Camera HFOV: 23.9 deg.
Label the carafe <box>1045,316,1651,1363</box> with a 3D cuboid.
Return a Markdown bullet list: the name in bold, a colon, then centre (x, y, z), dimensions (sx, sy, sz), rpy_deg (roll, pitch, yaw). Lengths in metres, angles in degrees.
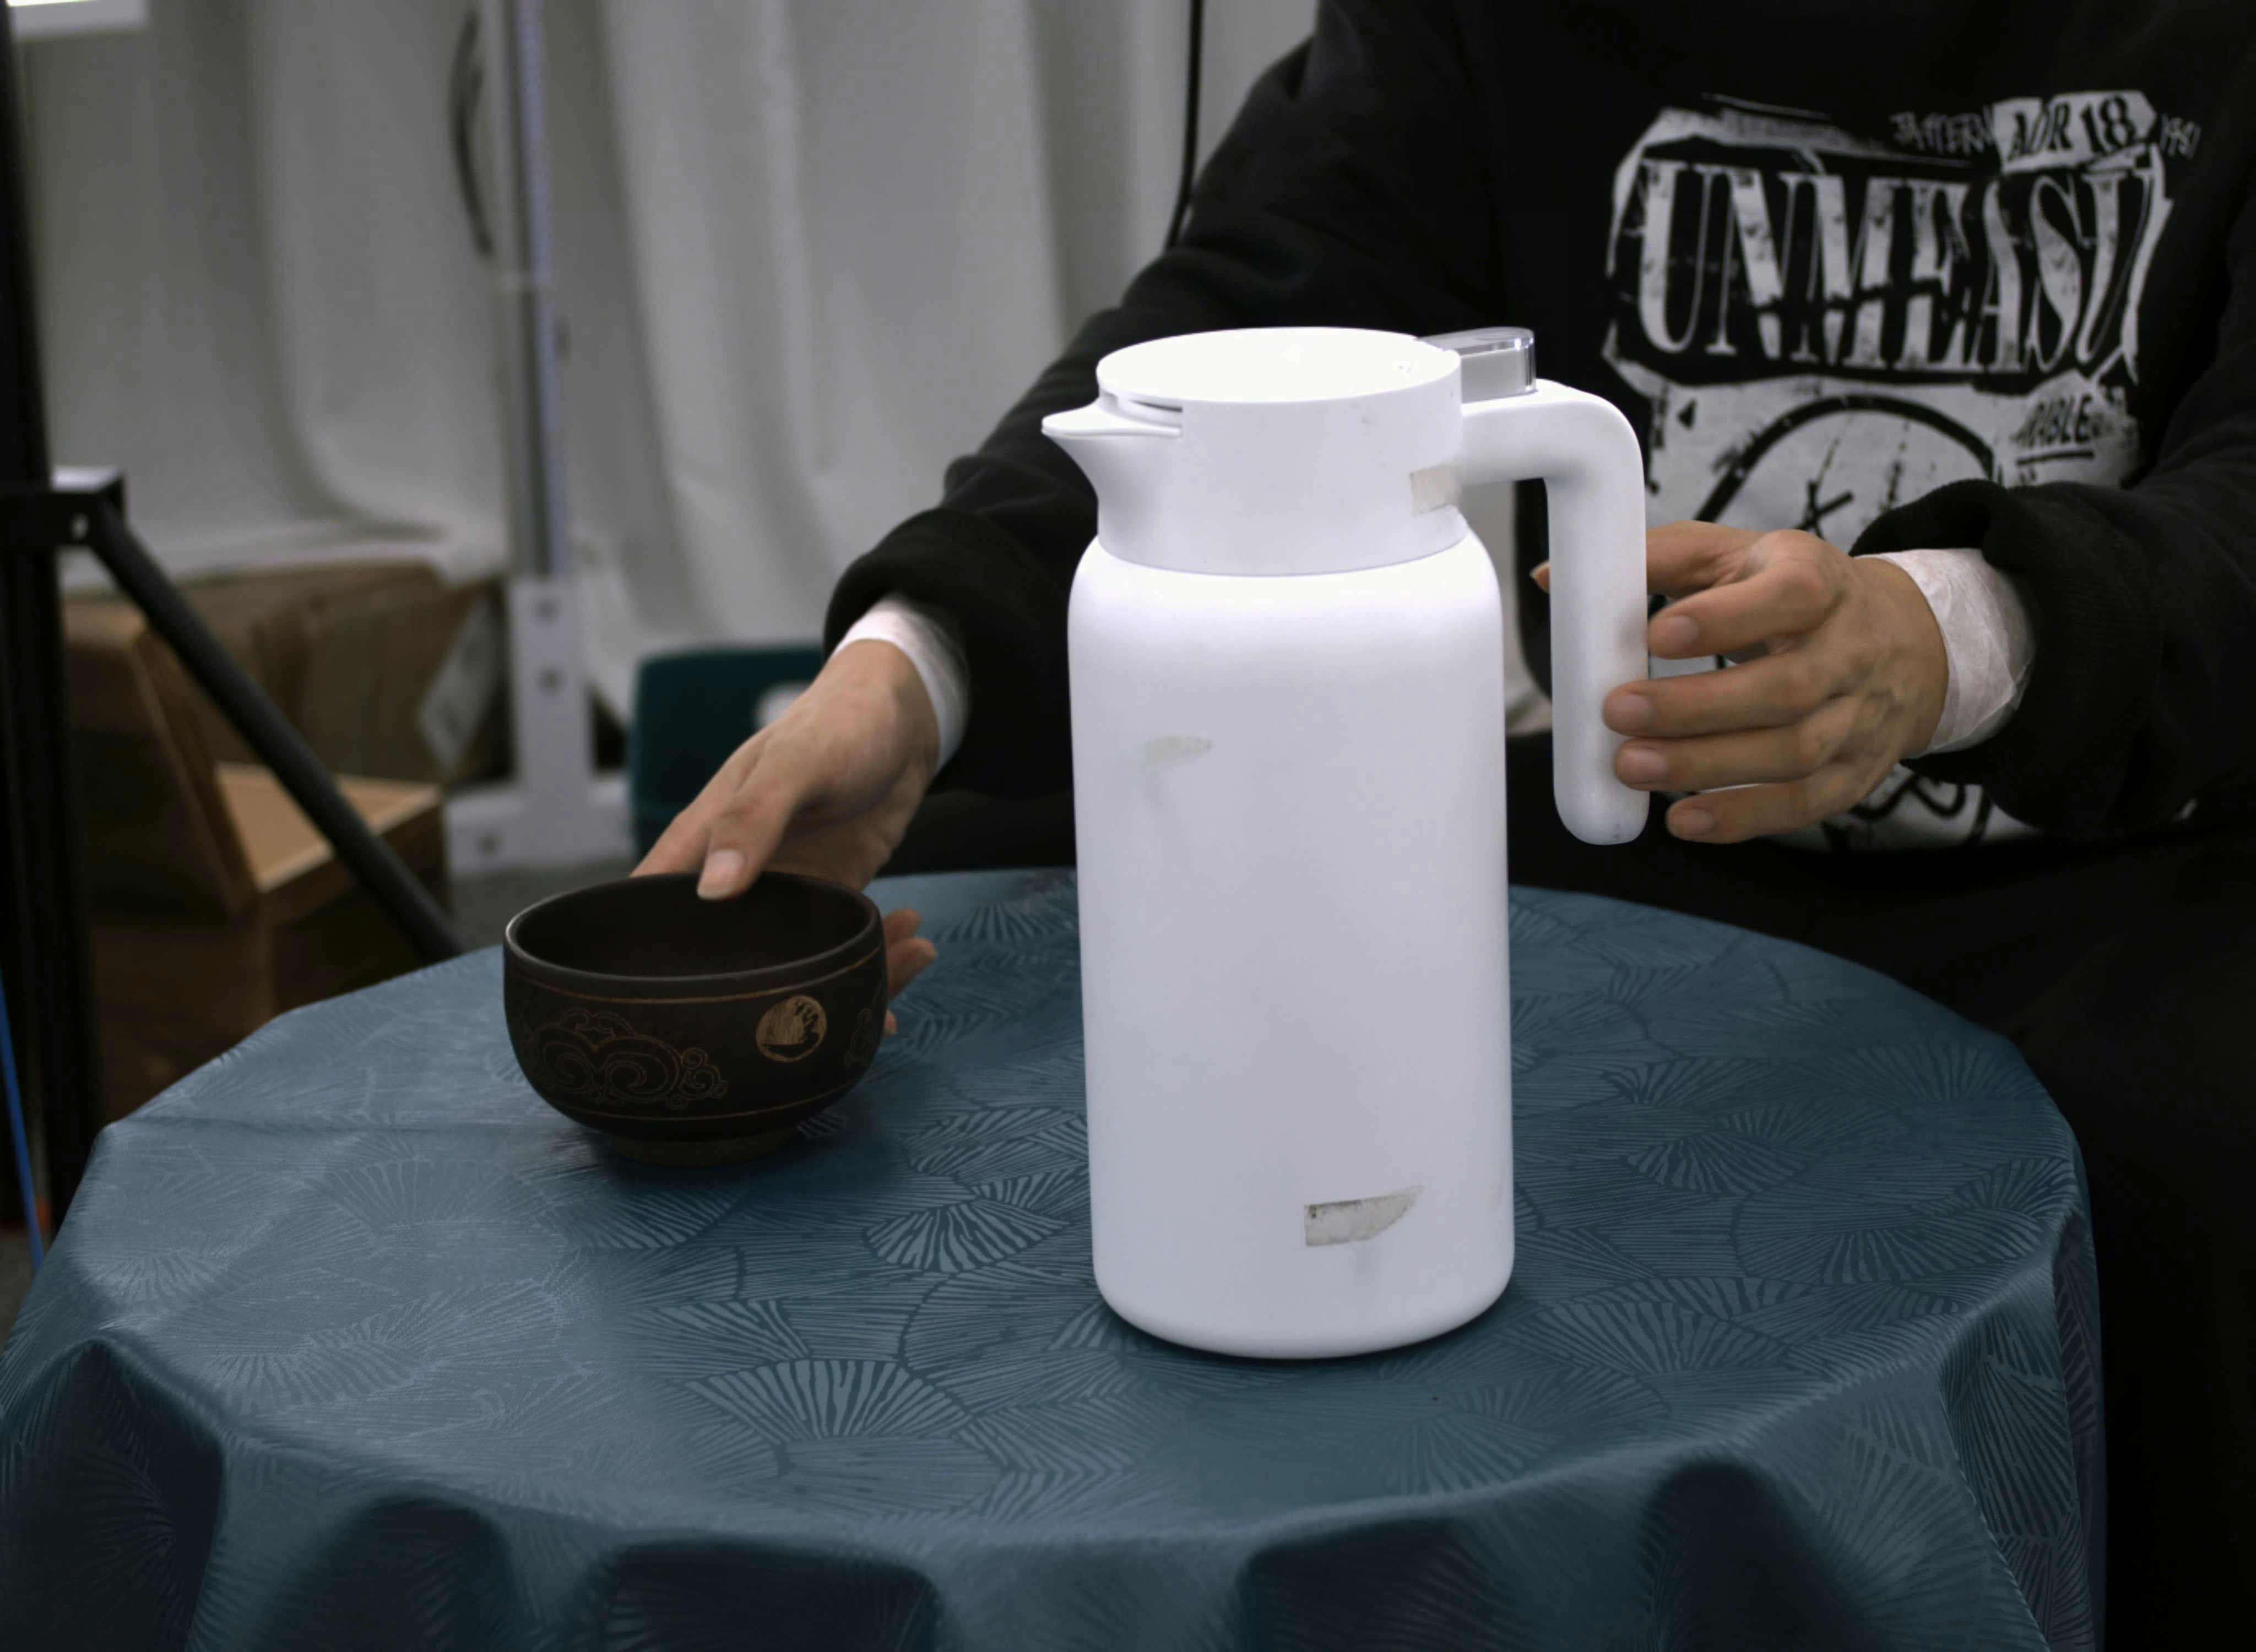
- **carafe**: centre (0.061, 0.000, 1.439), dimensions (0.169, 0.269, 0.126), rpy_deg (-9, 14, -23)

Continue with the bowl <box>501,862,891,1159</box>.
- **bowl**: centre (-0.130, 0.059, 1.613), dimensions (0.117, 0.070, 0.118), rpy_deg (-2, 15, -1)
